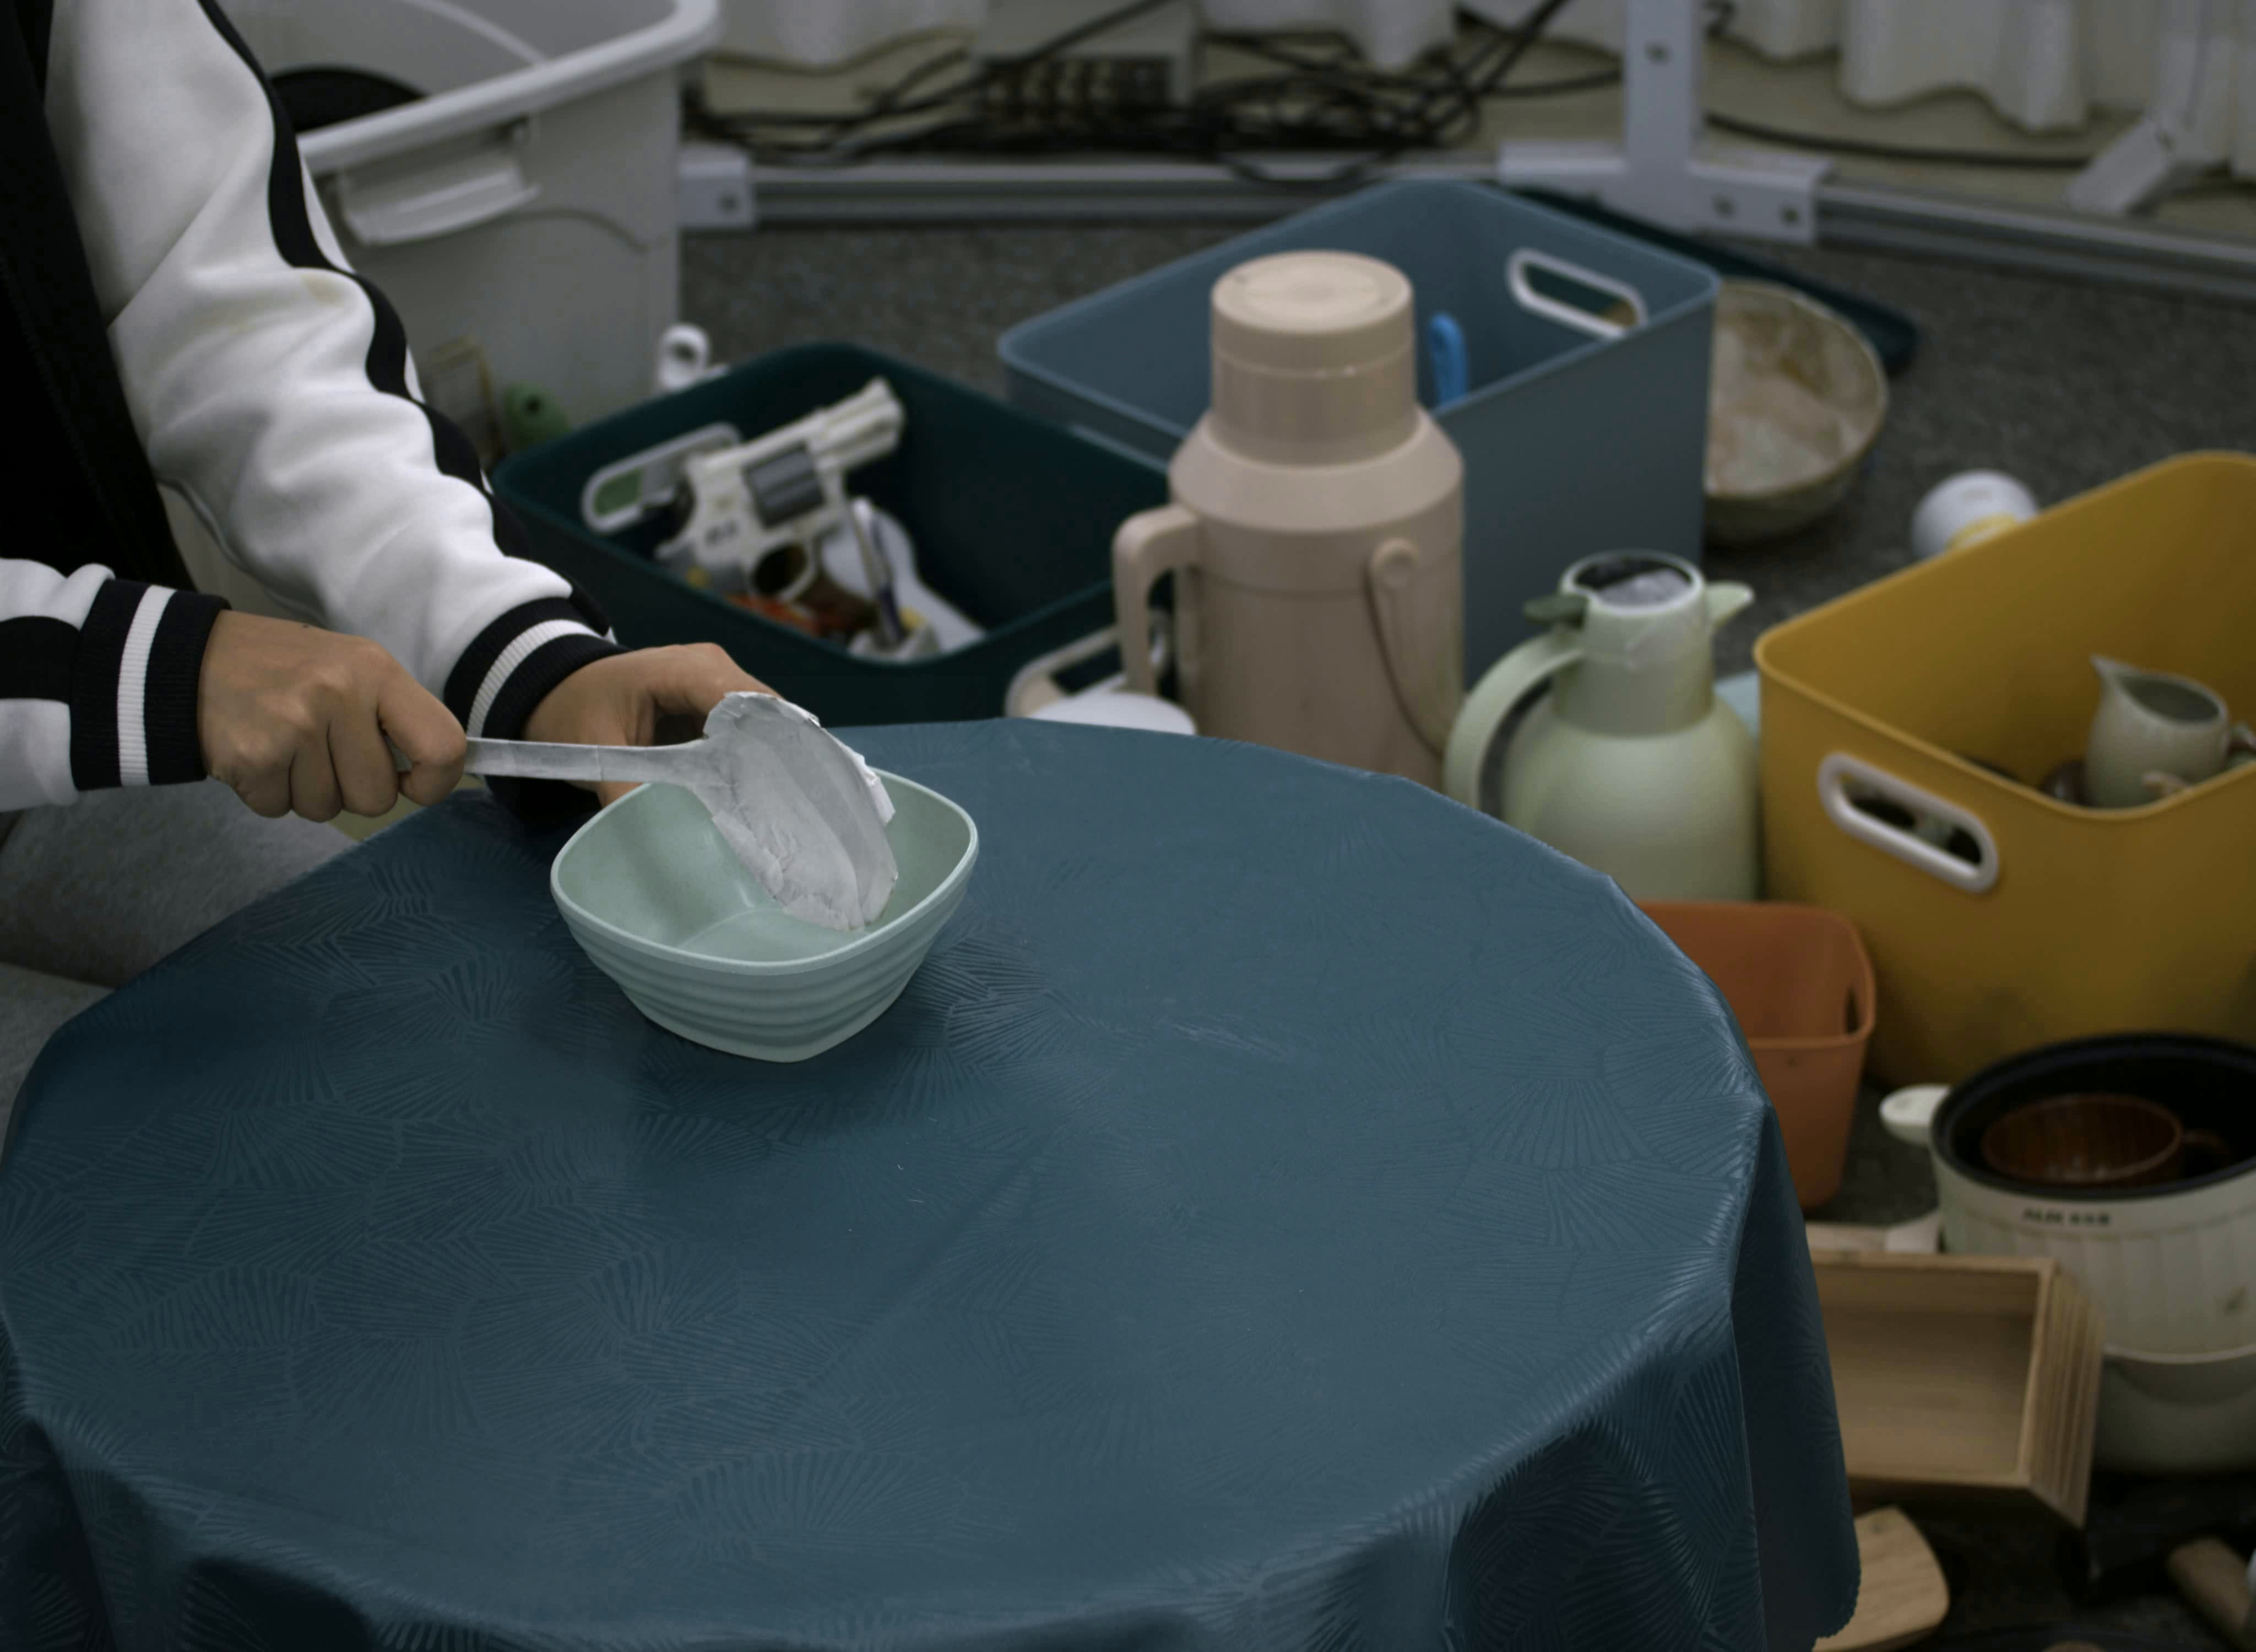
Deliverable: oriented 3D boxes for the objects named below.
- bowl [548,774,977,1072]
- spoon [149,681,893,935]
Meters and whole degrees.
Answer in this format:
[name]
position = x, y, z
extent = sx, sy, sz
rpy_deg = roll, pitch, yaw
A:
[bowl]
position = -0.127, 0.037, 1.978
extent = 0.151, 0.058, 0.154
rpy_deg = -1, 29, 1
[spoon]
position = -0.214, -0.017, 1.957
extent = 0.276, 0.099, 0.060
rpy_deg = 5, 29, 6
